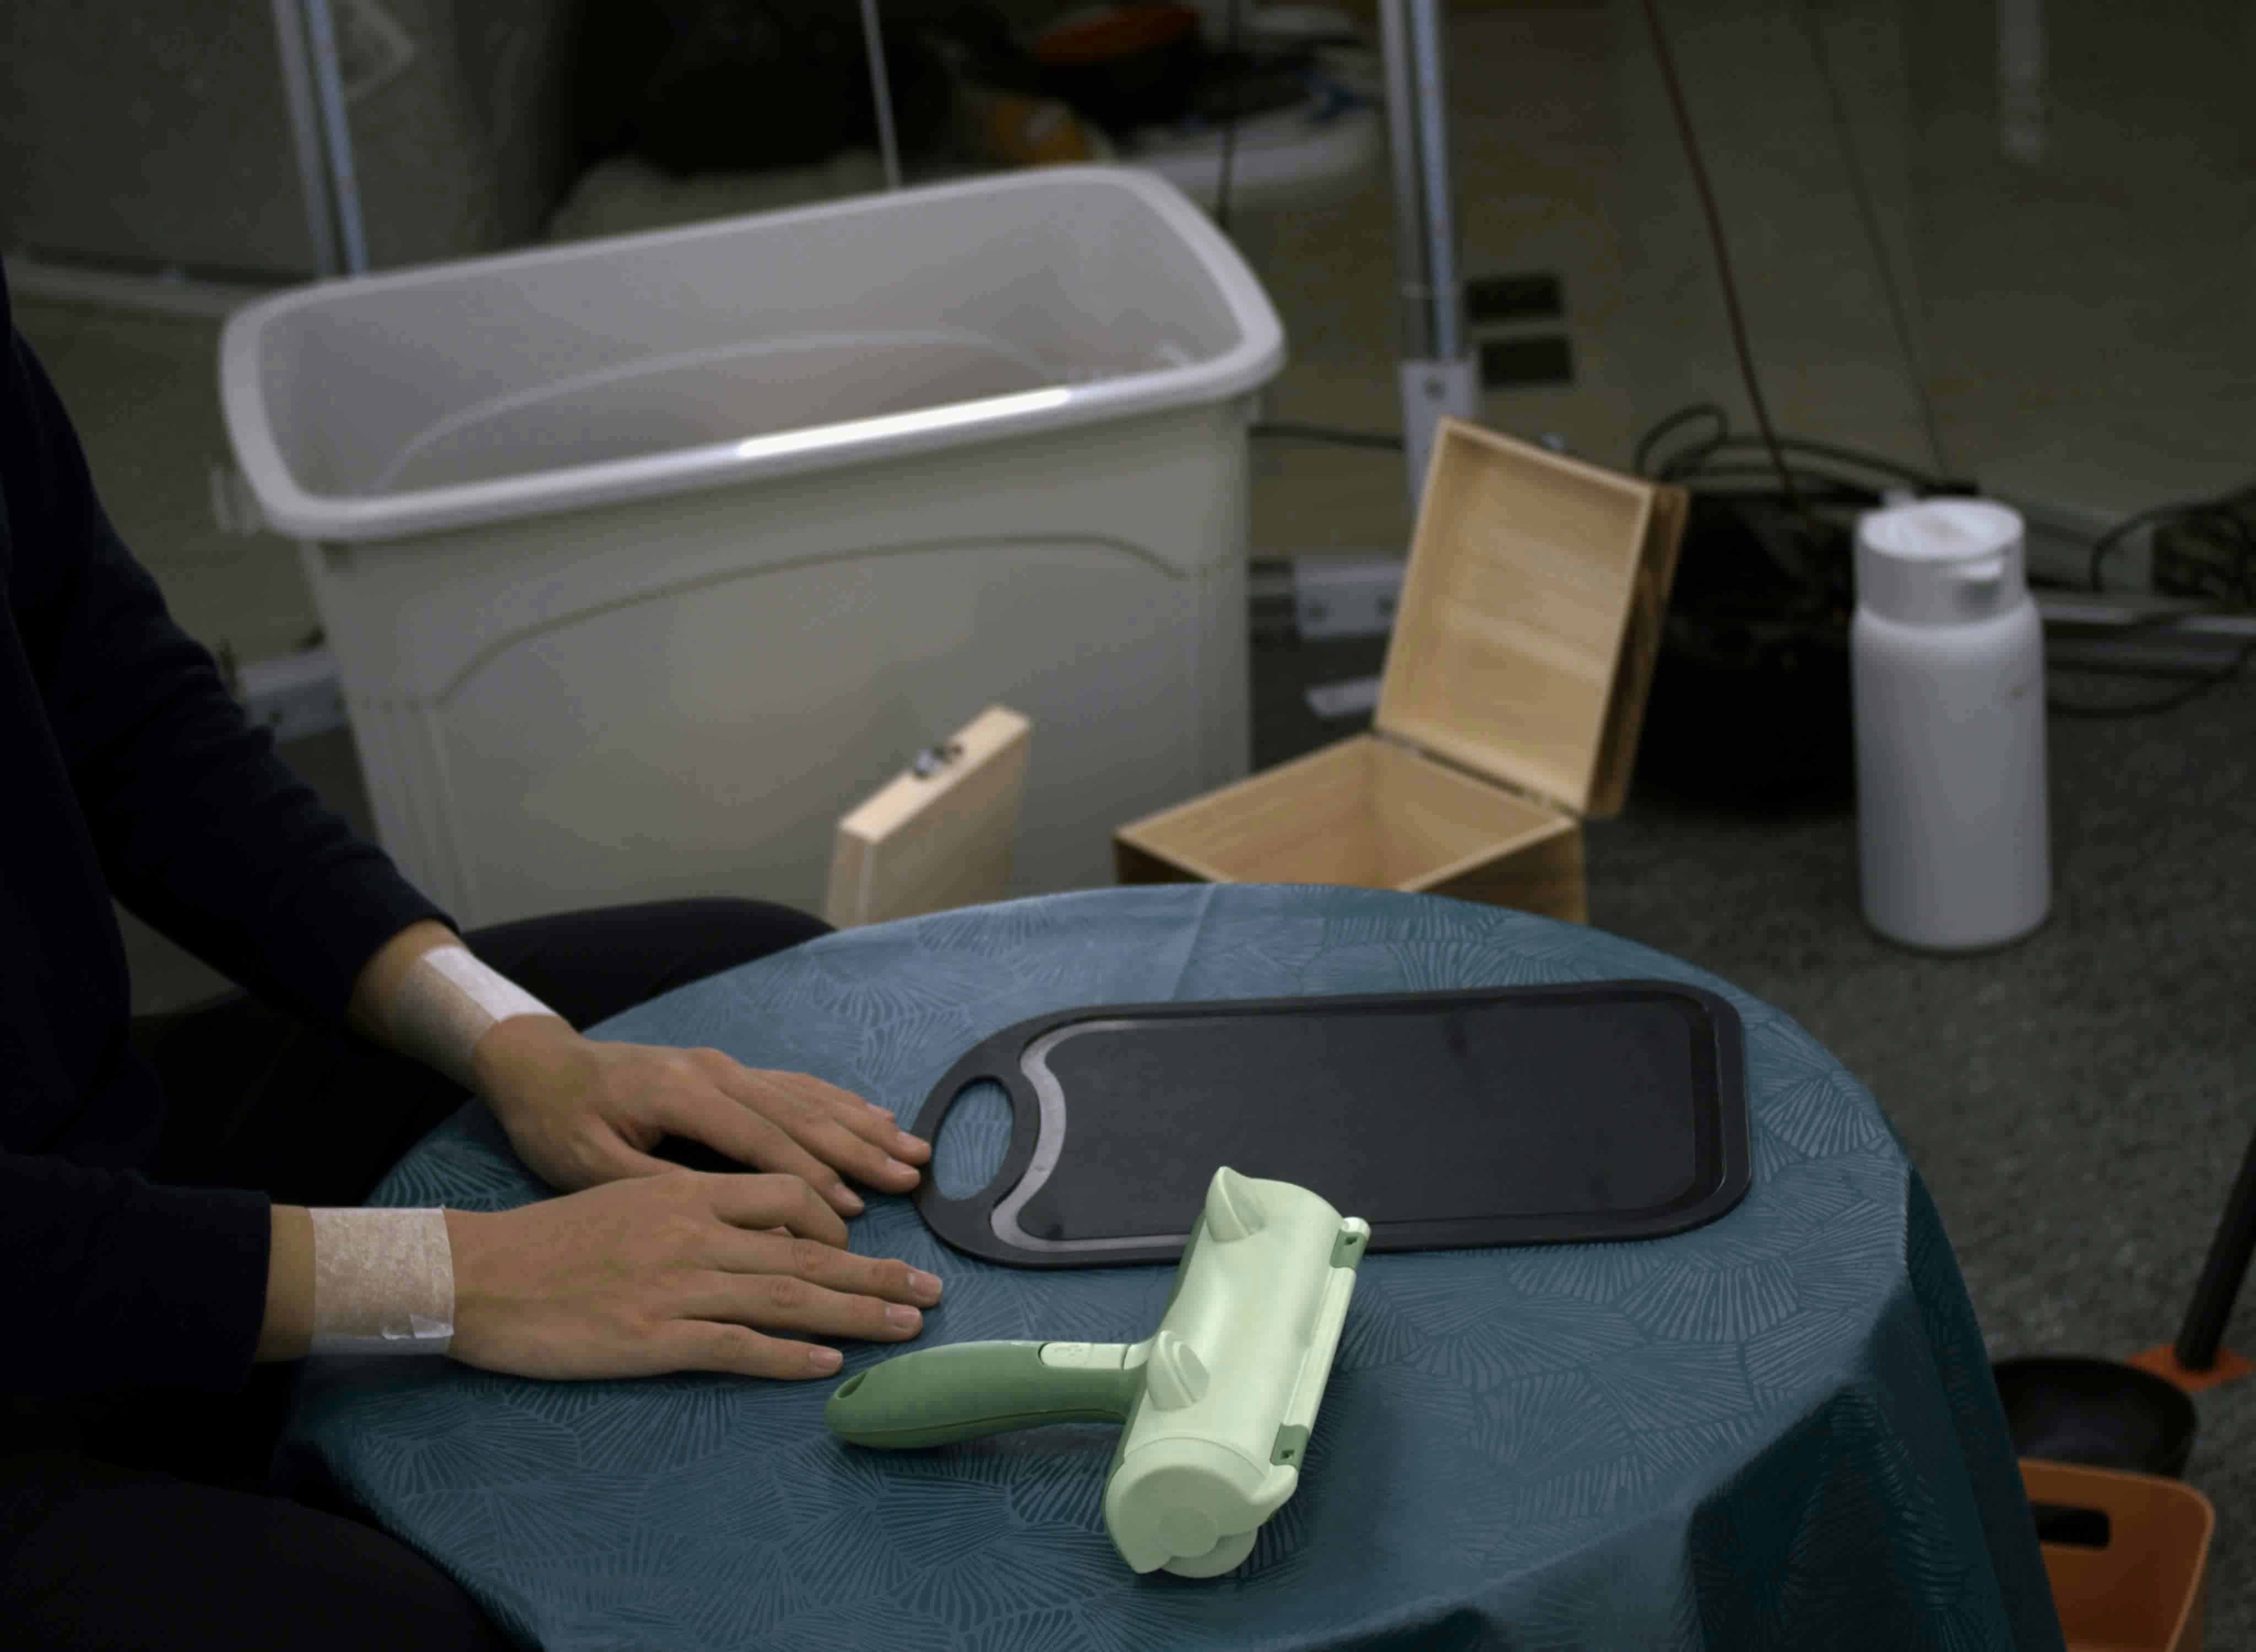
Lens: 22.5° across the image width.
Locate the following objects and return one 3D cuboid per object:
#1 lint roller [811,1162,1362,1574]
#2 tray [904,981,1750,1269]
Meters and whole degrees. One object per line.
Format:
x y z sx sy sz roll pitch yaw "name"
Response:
-0.021 0.177 1.968 0.183 0.083 0.196 5 26 8 "lint roller"
0.075 0.112 2.178 0.325 0.010 0.208 -3 25 7 "tray"
